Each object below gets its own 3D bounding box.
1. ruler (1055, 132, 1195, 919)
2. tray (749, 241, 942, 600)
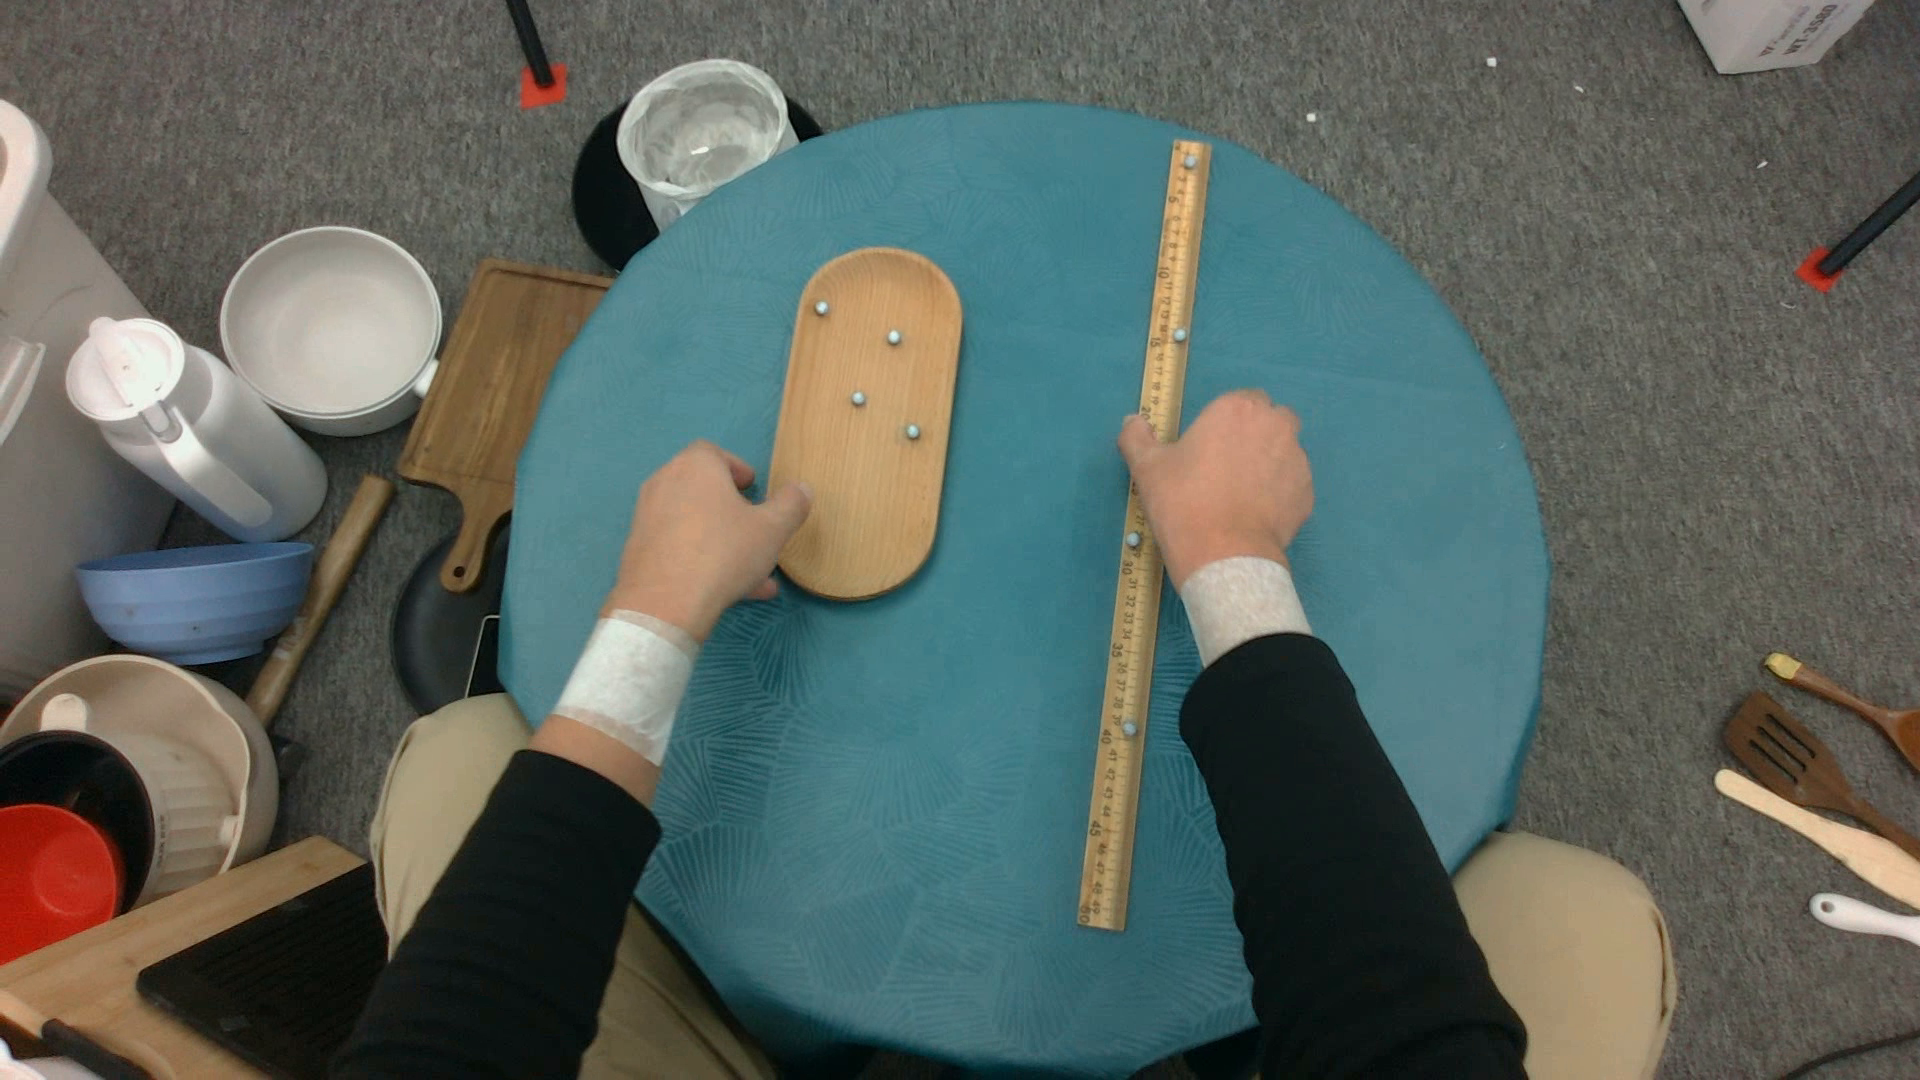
[{"bbox_3d":[0.100,-0.035,0.806,0.027,0.006,0.502,8,69,4],"label":"ruler"},{"bbox_3d":[-0.065,-0.074,0.811,0.101,0.020,0.232,3,70,2],"label":"tray"}]
